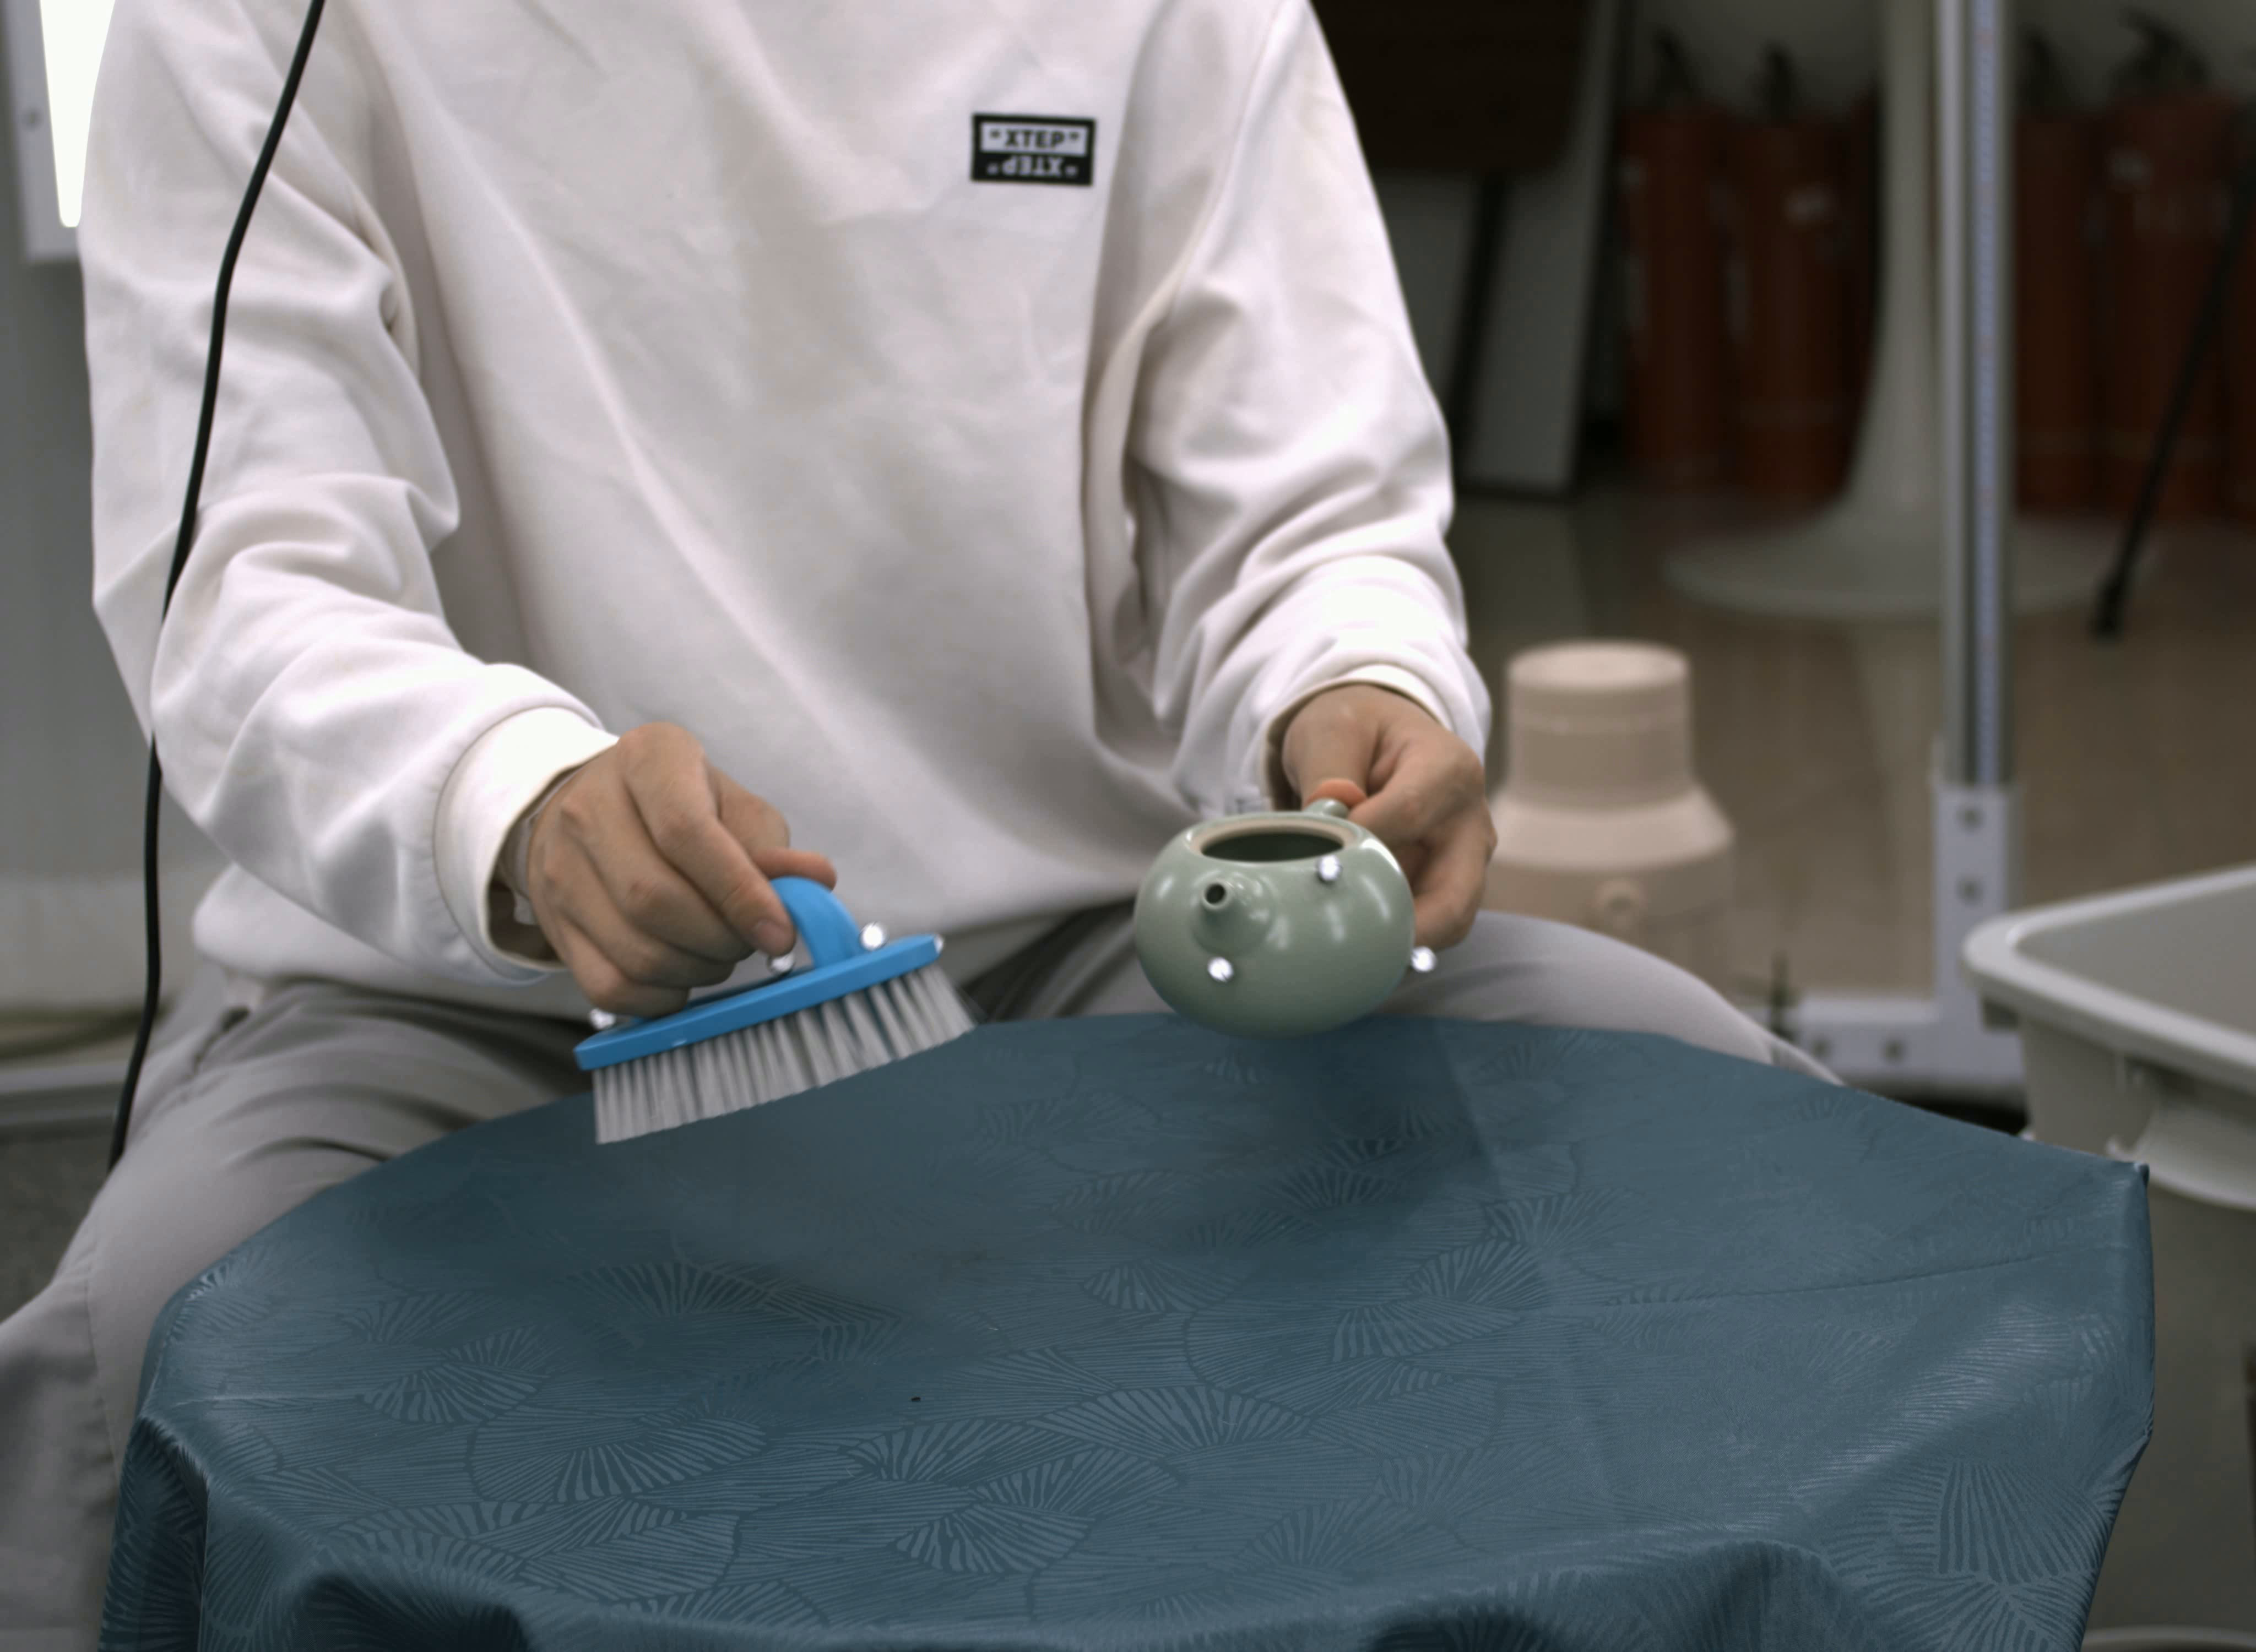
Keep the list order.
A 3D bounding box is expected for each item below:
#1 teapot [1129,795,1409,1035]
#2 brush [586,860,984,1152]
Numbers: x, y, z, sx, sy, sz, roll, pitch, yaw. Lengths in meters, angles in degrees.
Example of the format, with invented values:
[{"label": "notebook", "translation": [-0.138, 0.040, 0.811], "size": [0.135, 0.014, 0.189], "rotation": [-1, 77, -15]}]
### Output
[{"label": "teapot", "translation": [0.050, 0.028, 1.745], "size": [0.092, 0.061, 0.126], "rotation": [3, 15, 28]}, {"label": "brush", "translation": [-0.113, 0.049, 1.665], "size": [0.143, 0.064, 0.083], "rotation": [-21, 5, 42]}]
